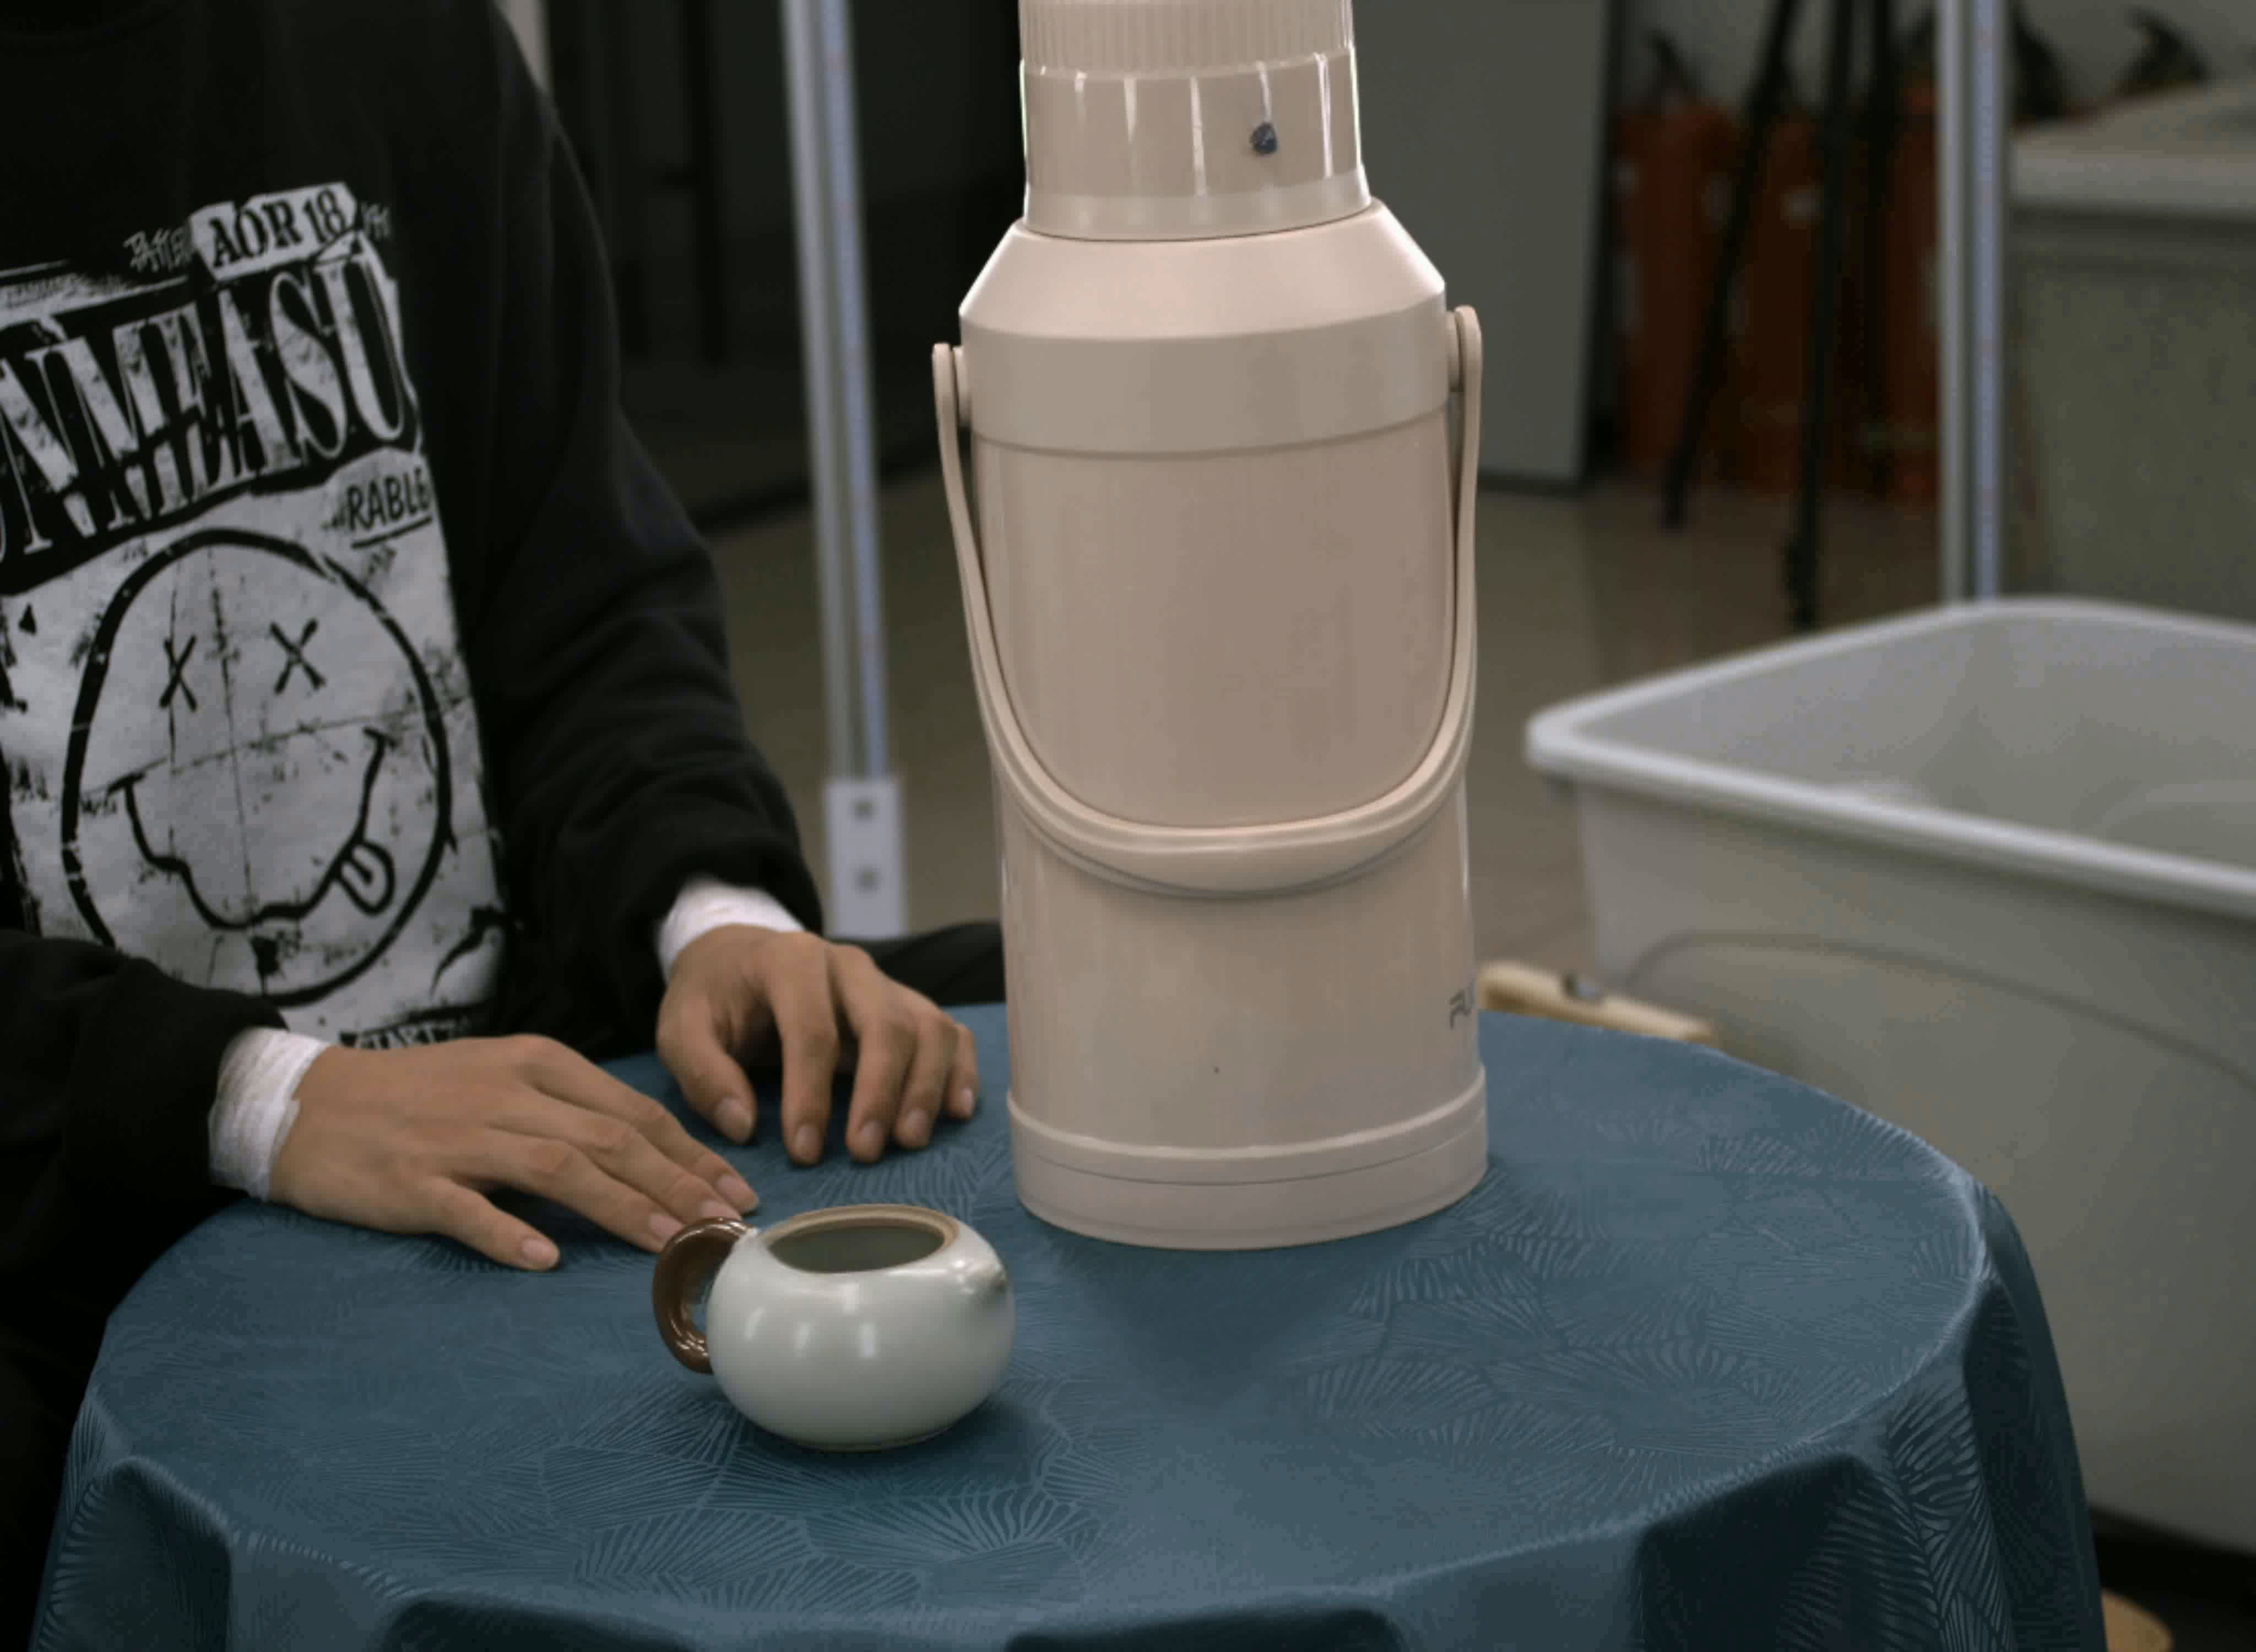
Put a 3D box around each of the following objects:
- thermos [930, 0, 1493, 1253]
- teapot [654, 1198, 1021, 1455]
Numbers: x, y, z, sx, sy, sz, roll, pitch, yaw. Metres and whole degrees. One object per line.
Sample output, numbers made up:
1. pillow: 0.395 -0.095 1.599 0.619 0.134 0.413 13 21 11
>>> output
1. thermos: 0.029 -0.082 1.752 0.173 0.410 0.208 -6 14 -3
2. teapot: -0.085 0.145 1.580 0.128 0.060 0.090 5 21 29
